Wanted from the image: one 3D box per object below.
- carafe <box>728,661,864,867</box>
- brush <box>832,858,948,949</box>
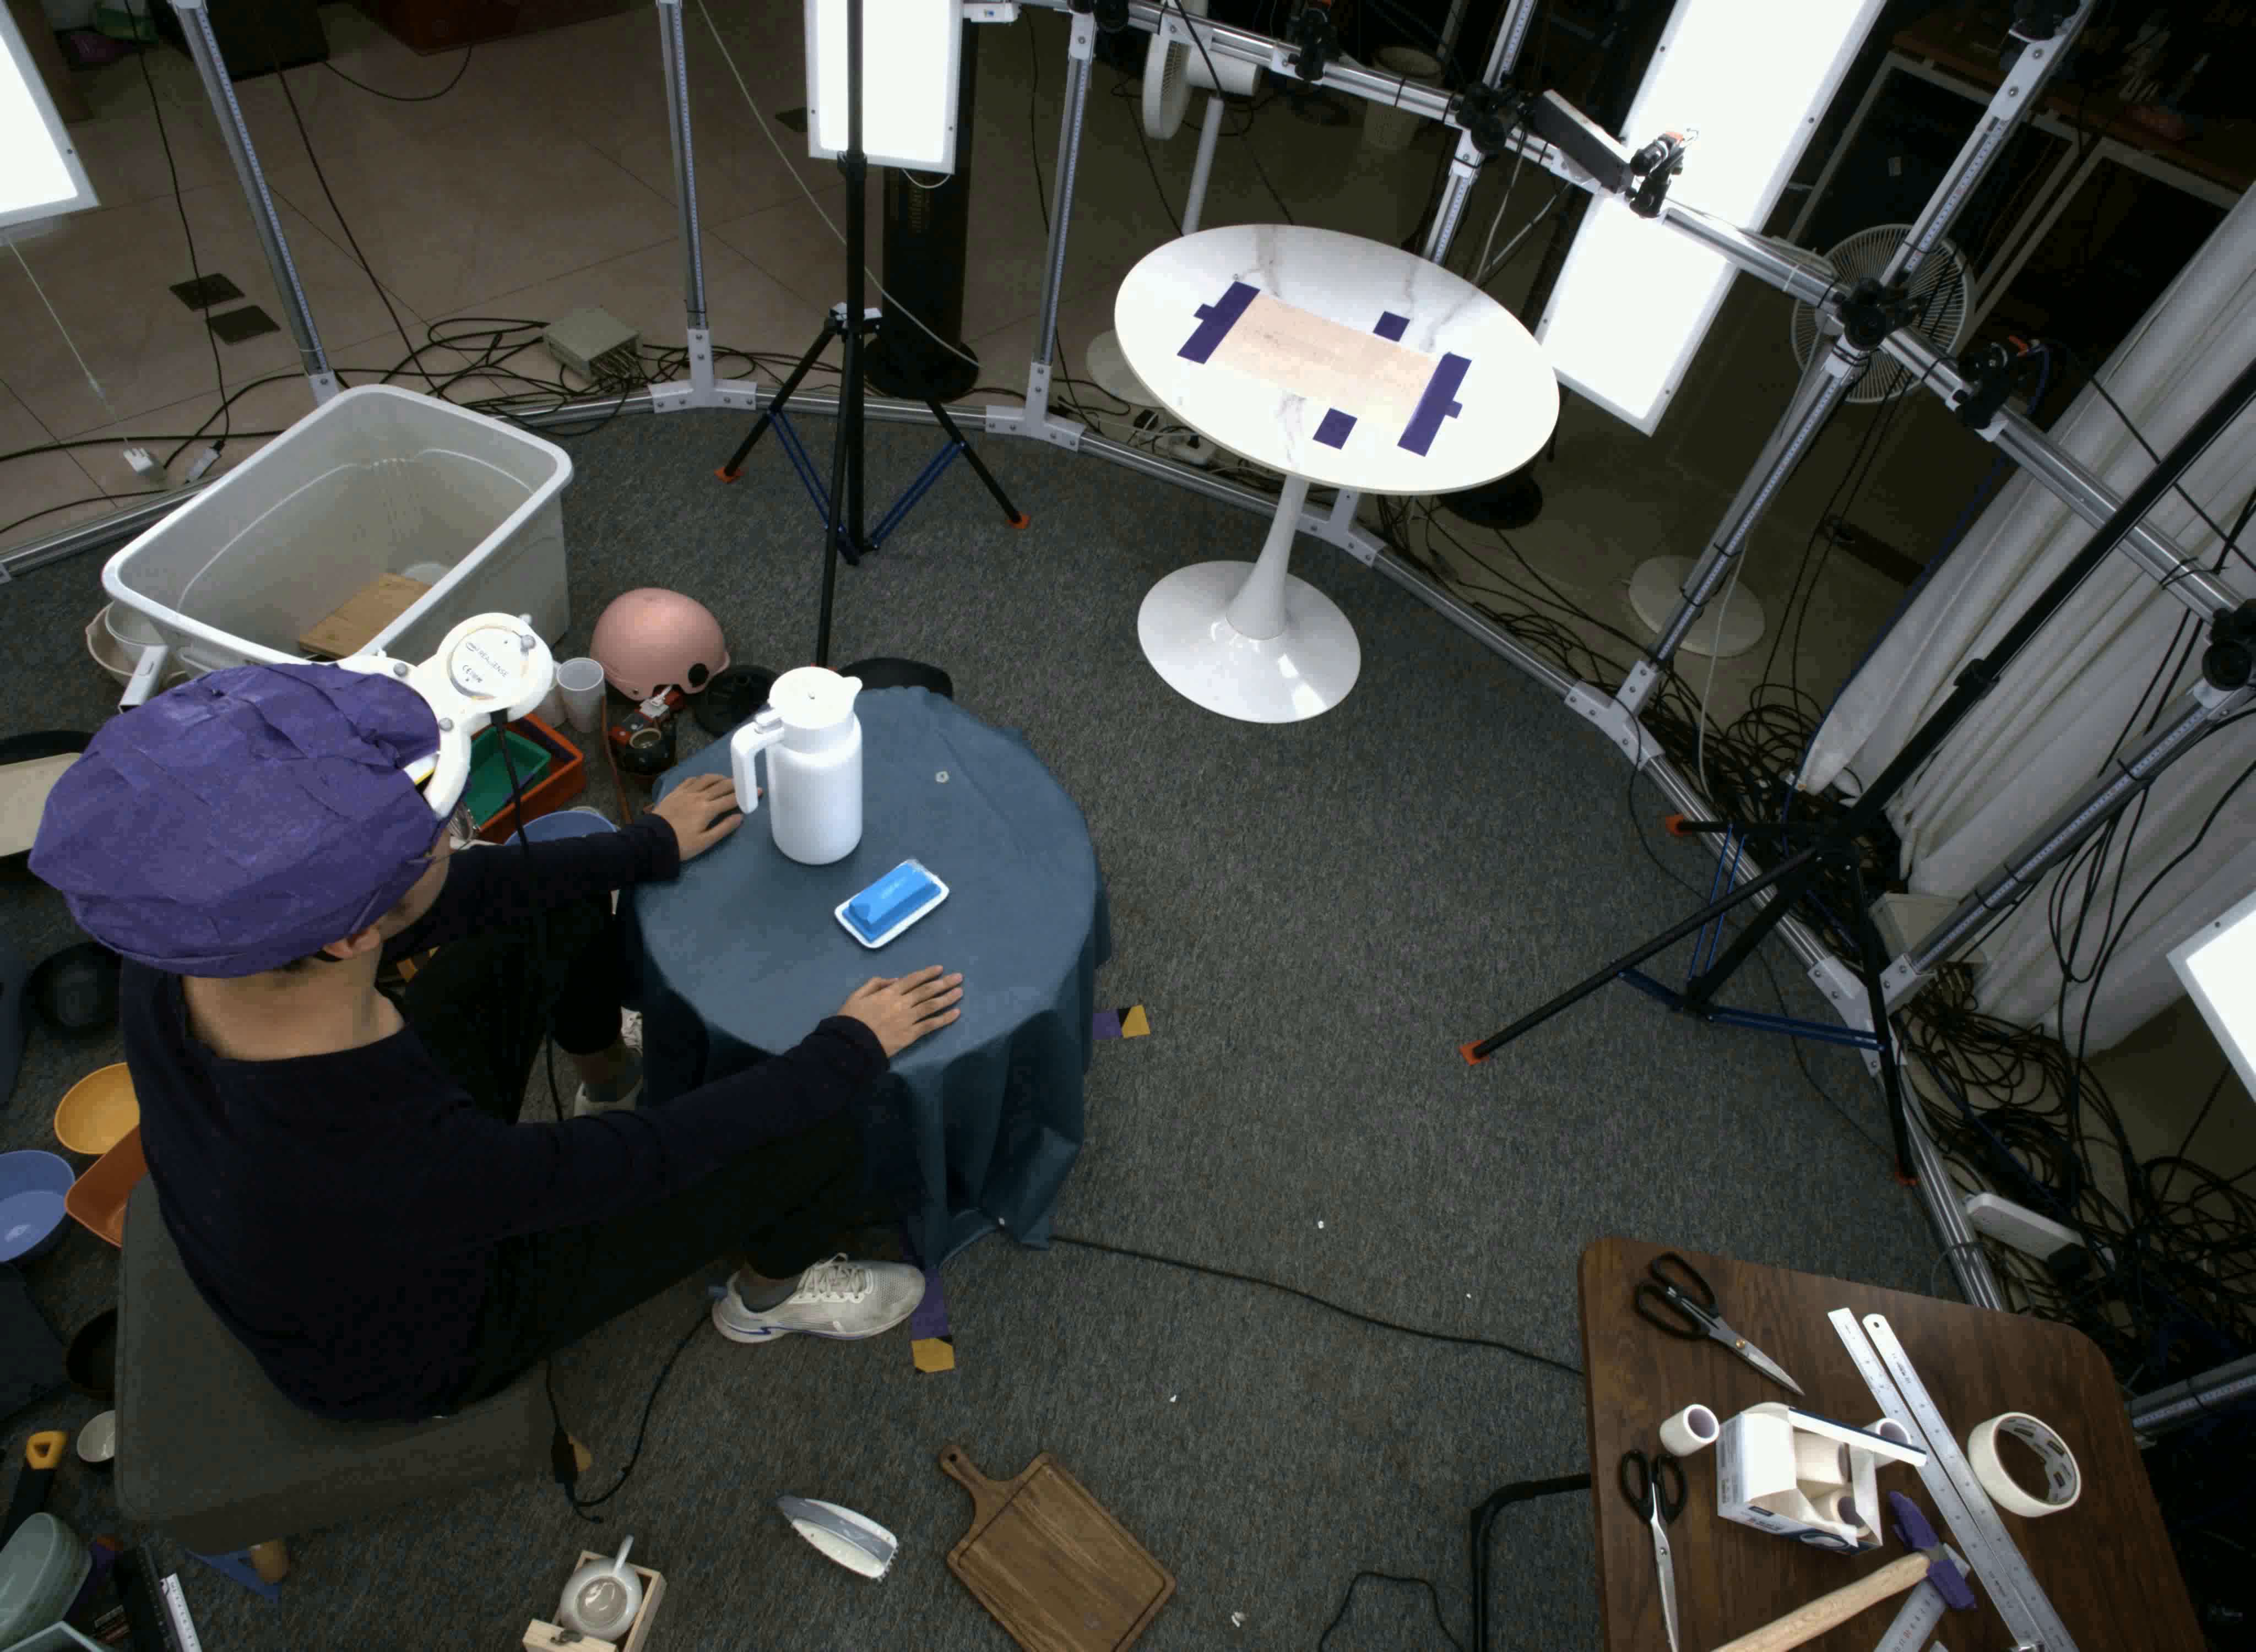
[{"bbox_3d":[-0.404,-0.065,1.608,0.173,0.274,0.121,-33,66,-30],"label":"carafe"},{"bbox_3d":[-0.301,0.089,1.650,0.082,0.057,0.144,40,52,21],"label":"brush"}]
